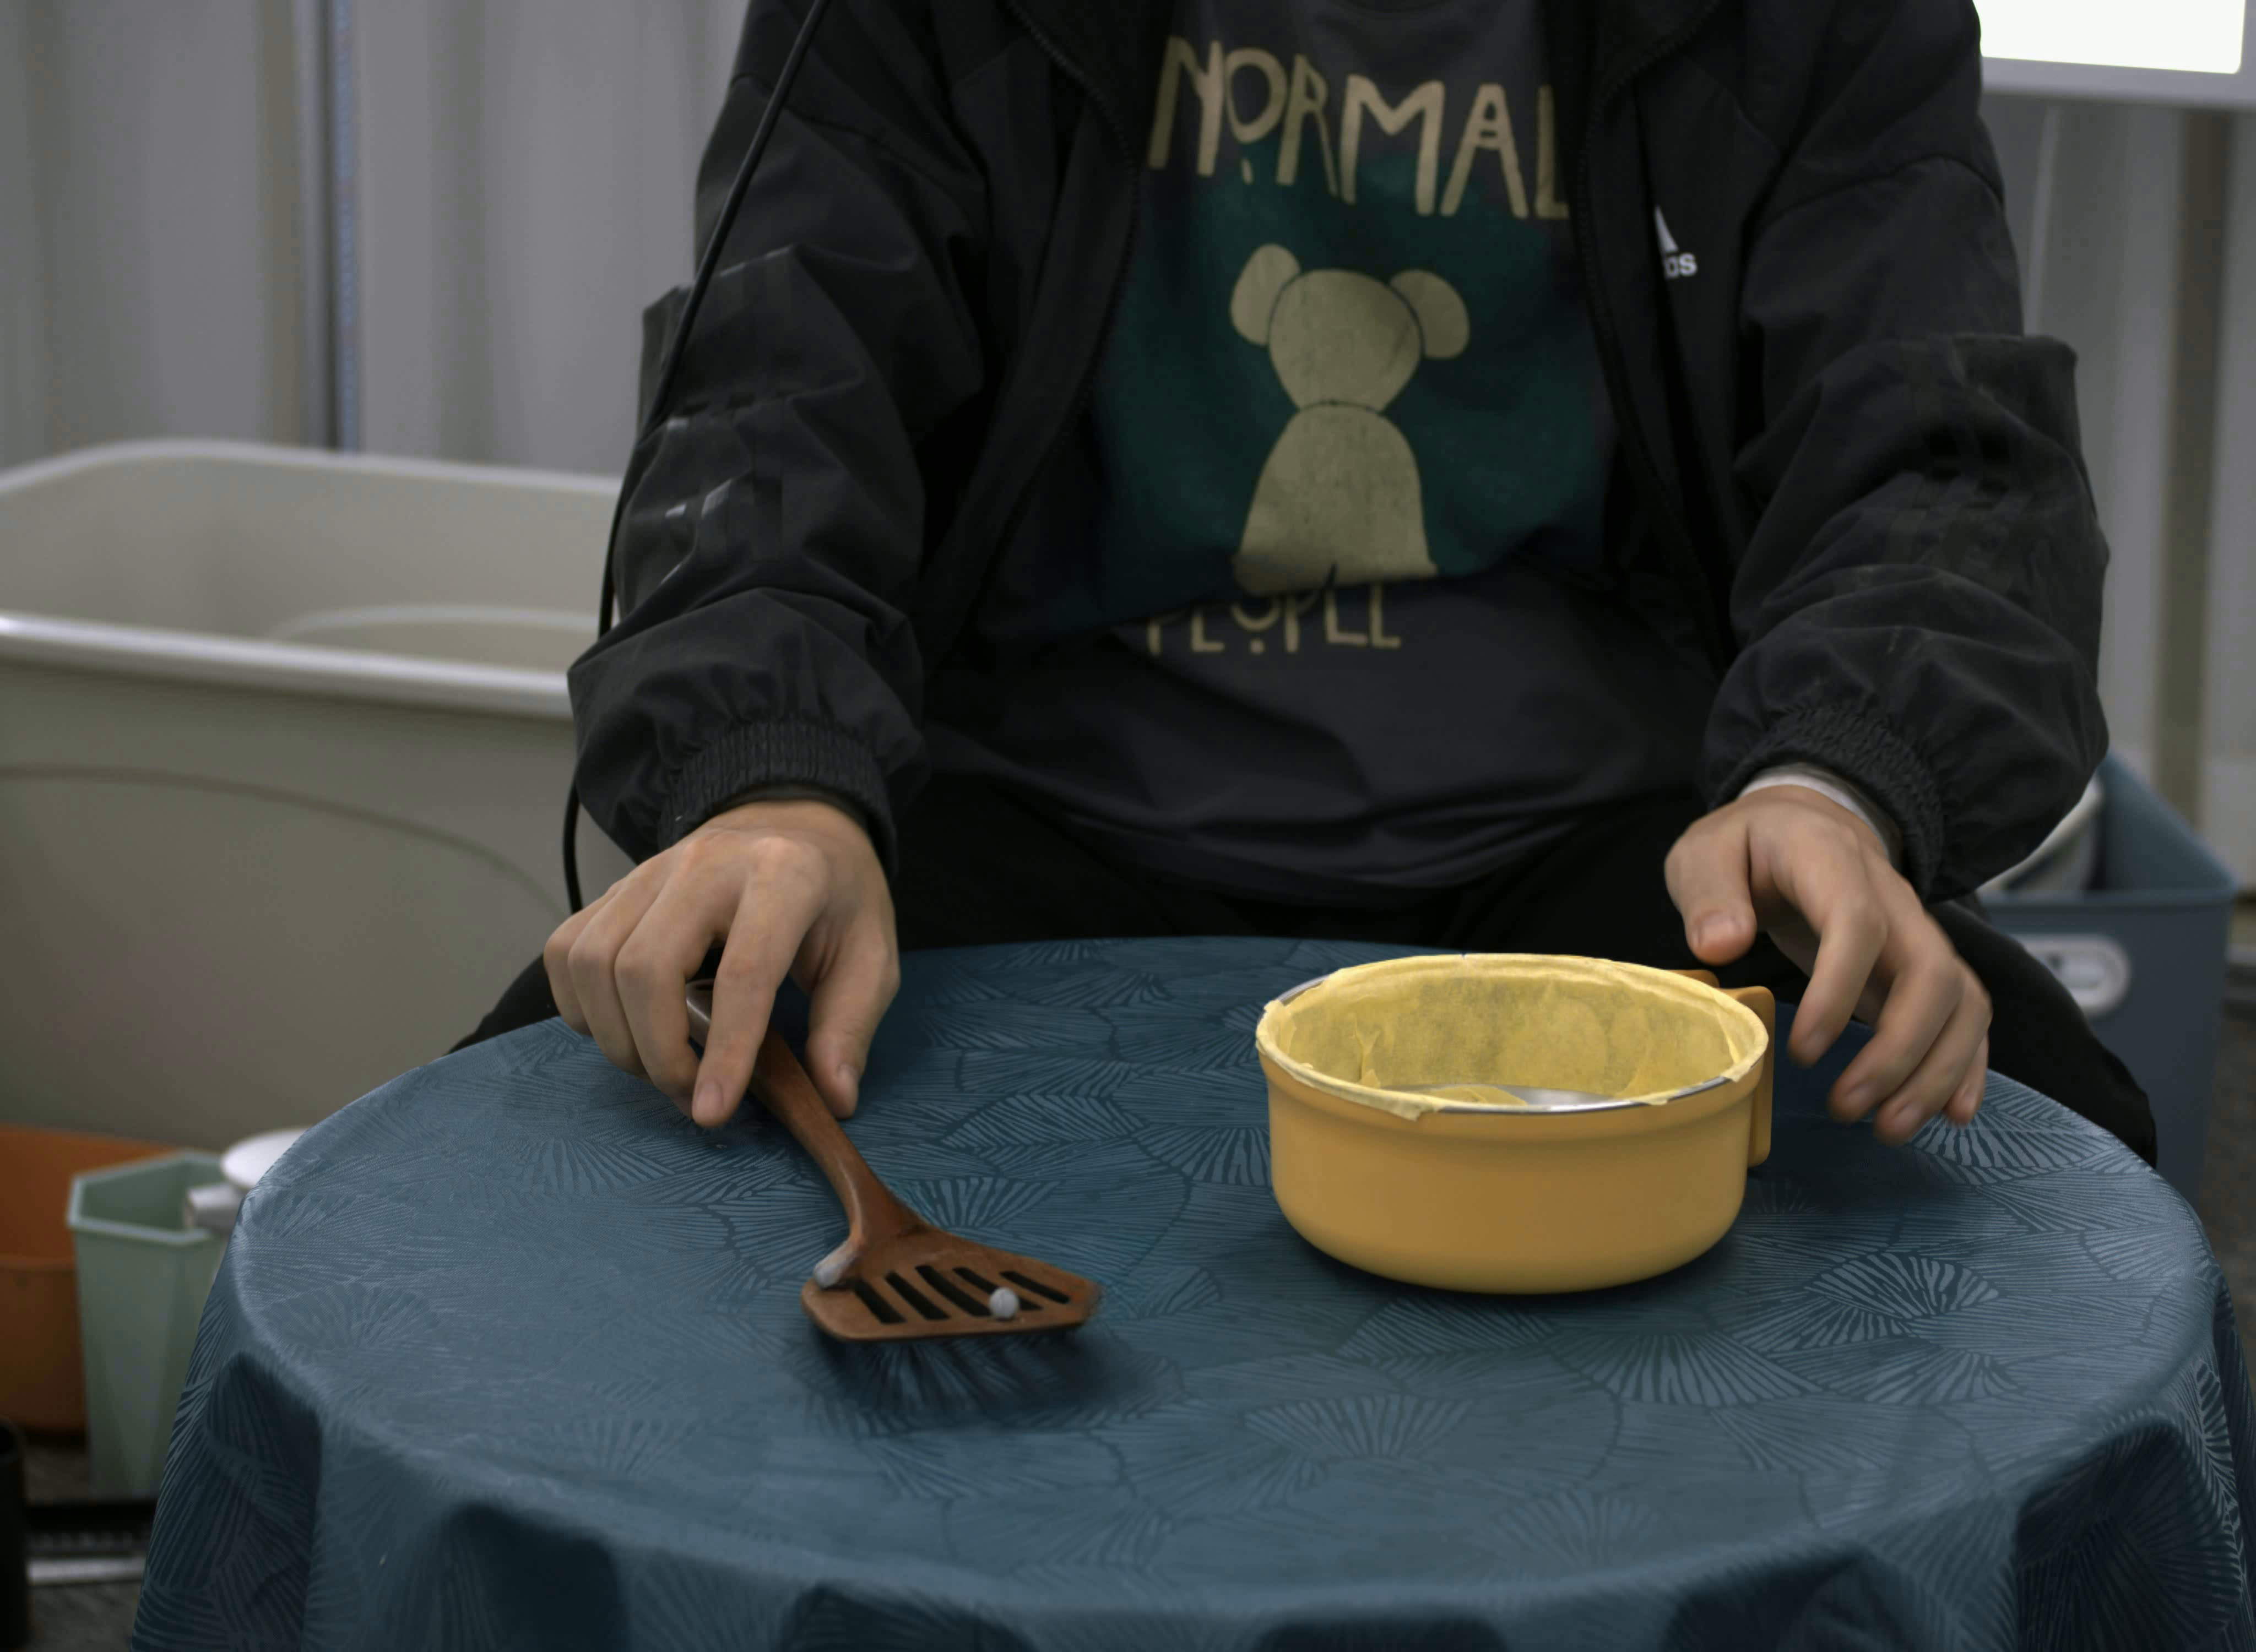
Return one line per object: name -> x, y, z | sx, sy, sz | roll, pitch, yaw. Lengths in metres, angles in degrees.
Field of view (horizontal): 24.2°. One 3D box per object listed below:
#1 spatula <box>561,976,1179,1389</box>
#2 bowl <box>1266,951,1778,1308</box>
spatula -> -0.101, 0.109, 1.615 | 0.086, 0.024, 0.382 | 3, 15, -28
bowl -> 0.127, 0.091, 1.588 | 0.151, 0.075, 0.180 | 15, 21, 41
